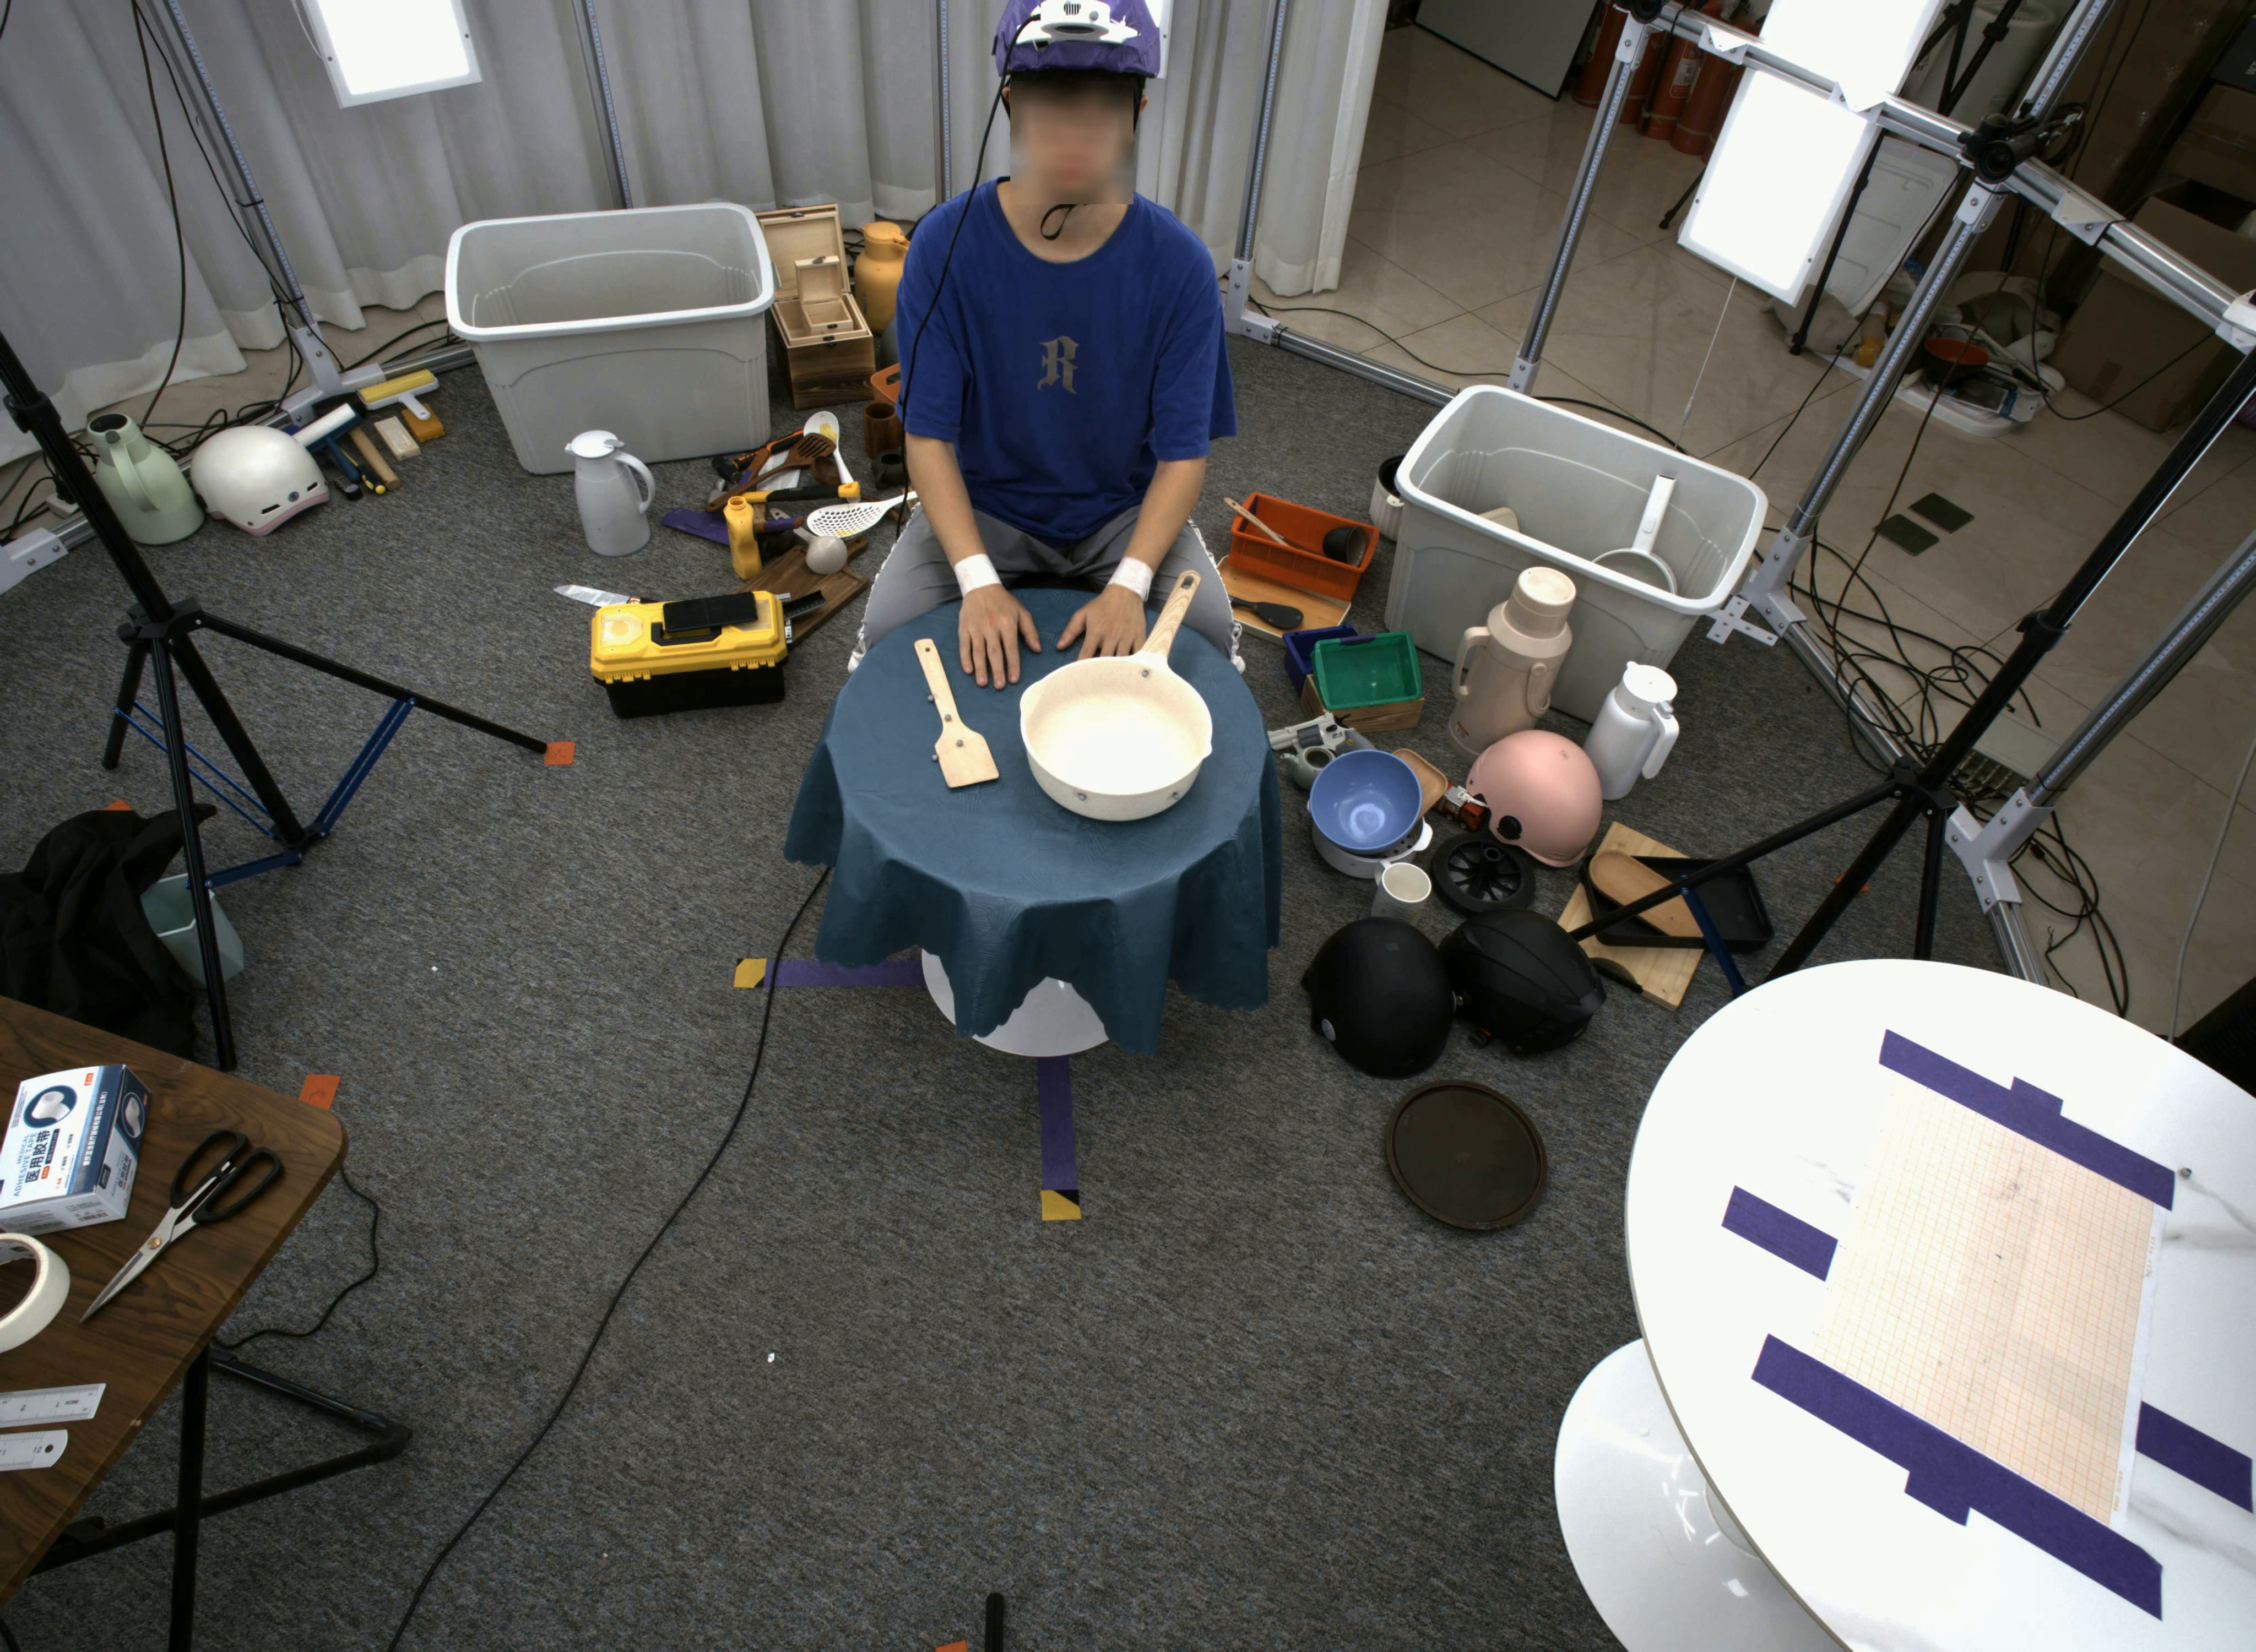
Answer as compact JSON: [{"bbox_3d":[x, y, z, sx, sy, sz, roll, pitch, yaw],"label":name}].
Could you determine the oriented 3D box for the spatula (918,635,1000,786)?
[{"bbox_3d":[-0.250,-0.167,1.795,0.072,0.010,0.300,-13,52,-13],"label":"spatula"}]

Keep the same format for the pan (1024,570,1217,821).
[{"bbox_3d":[0.020,-0.181,1.766,0.264,0.099,0.444,15,50,11],"label":"pan"}]
